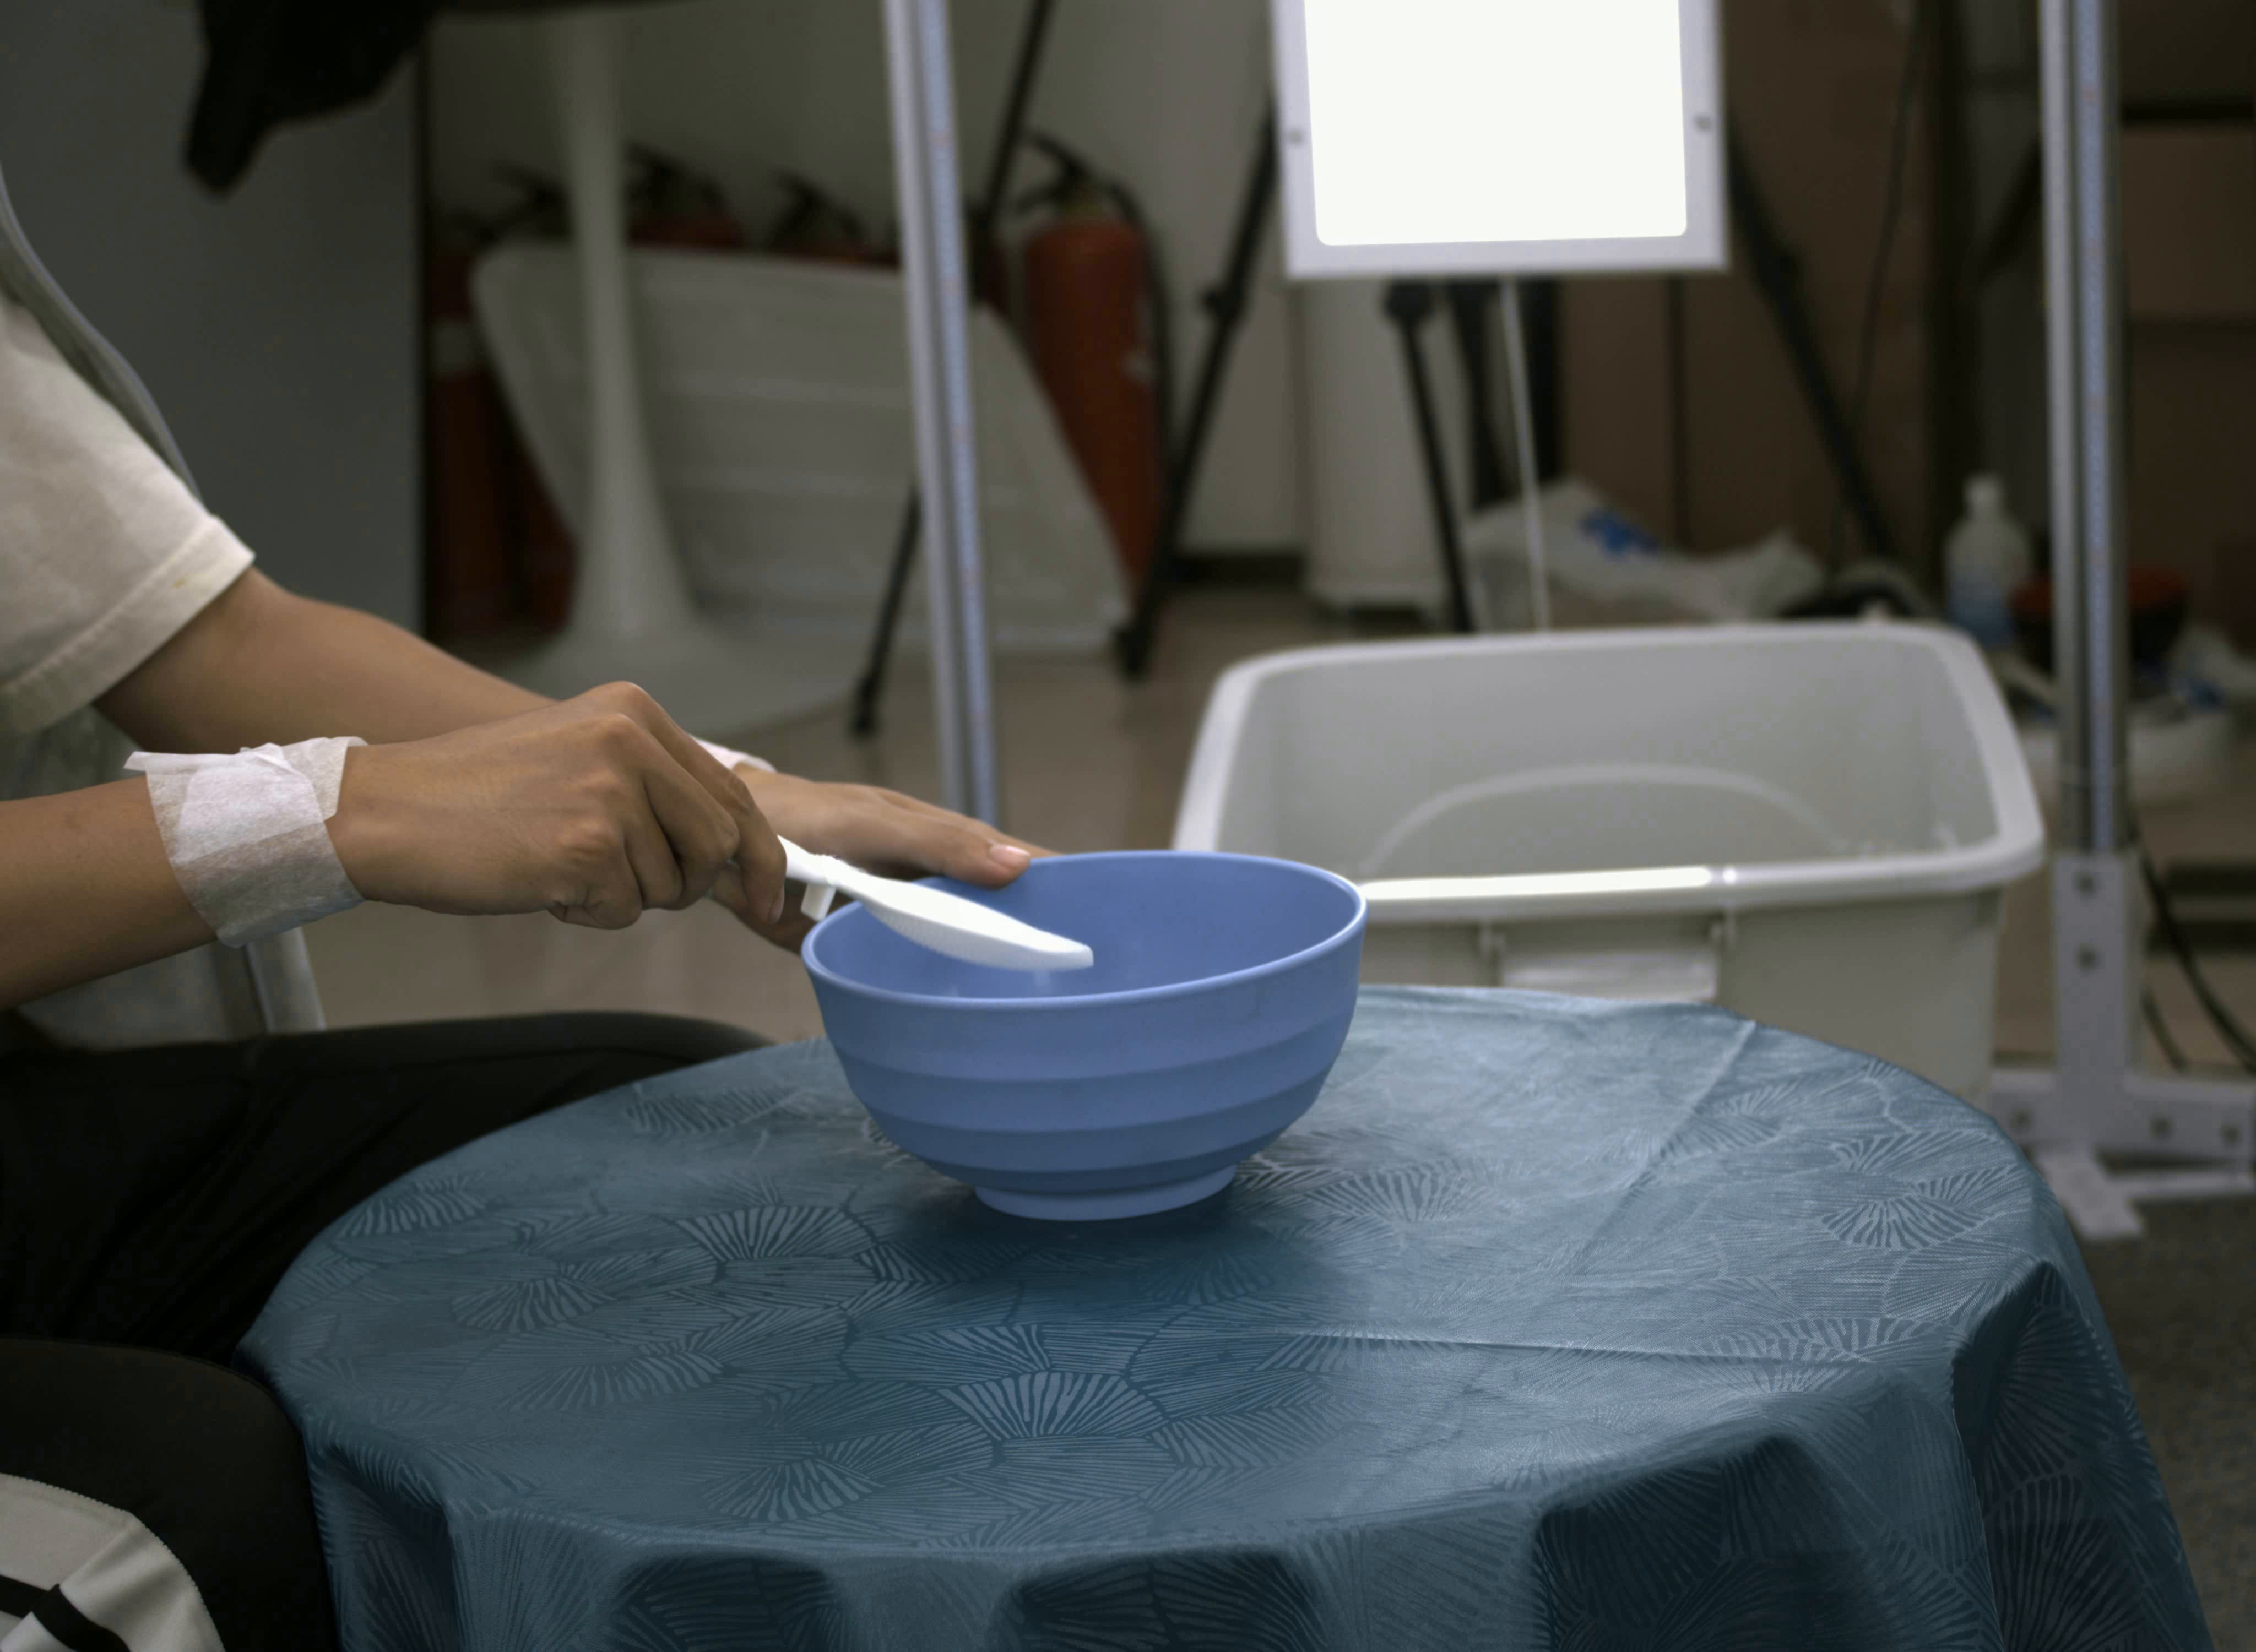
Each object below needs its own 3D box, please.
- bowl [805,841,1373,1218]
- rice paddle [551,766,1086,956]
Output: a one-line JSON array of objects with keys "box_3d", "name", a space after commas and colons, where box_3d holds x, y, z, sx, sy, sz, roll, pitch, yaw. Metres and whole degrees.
[{"box_3d": [-0.011, 0.076, 1.903, 0.196, 0.096, 0.196, -4, 15, 0], "name": "bowl"}, {"box_3d": [-0.097, 0.015, 1.824, 0.200, 0.029, 0.070, 14, 8, -35], "name": "rice paddle"}]
